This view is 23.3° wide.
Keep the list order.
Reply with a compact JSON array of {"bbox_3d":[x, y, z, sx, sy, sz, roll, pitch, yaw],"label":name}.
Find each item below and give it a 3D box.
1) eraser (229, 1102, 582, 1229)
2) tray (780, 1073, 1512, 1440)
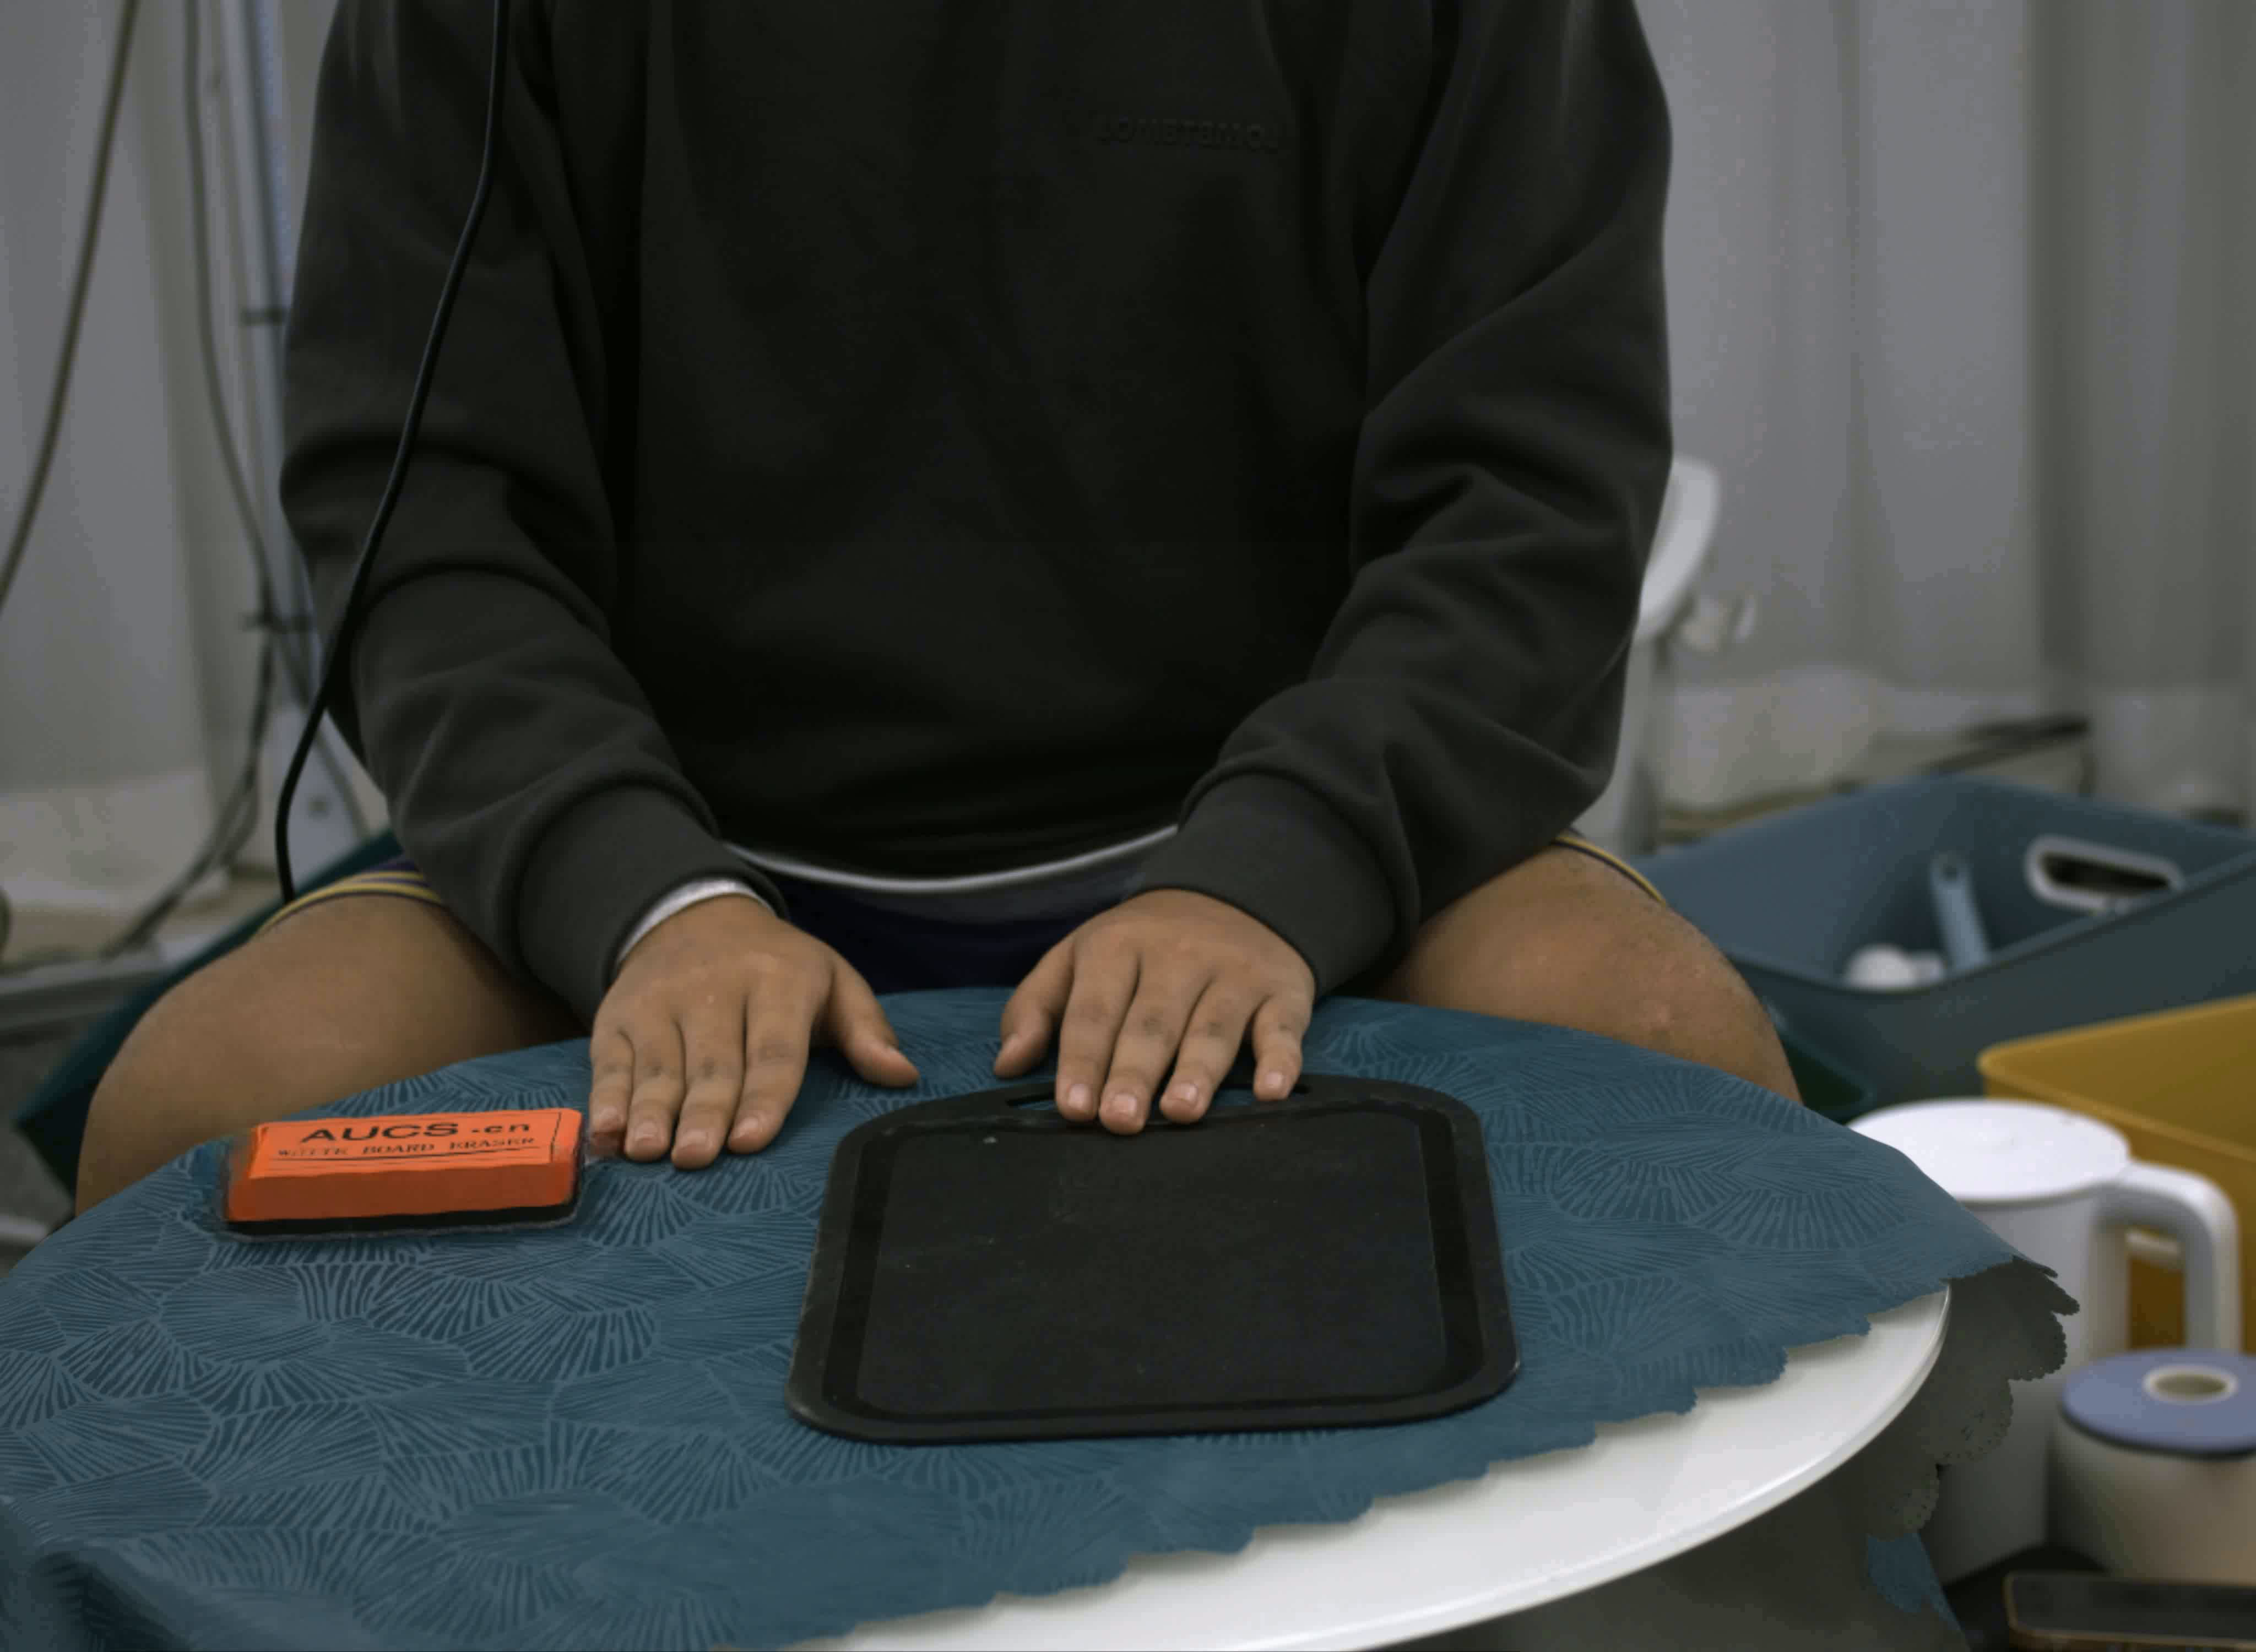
[{"bbox_3d":[-0.228,0.107,1.731,0.107,0.023,0.059,-1,15,0],"label":"eraser"},{"bbox_3d":[0.007,0.124,1.666,0.210,0.010,0.327,-2,15,2],"label":"tray"}]
